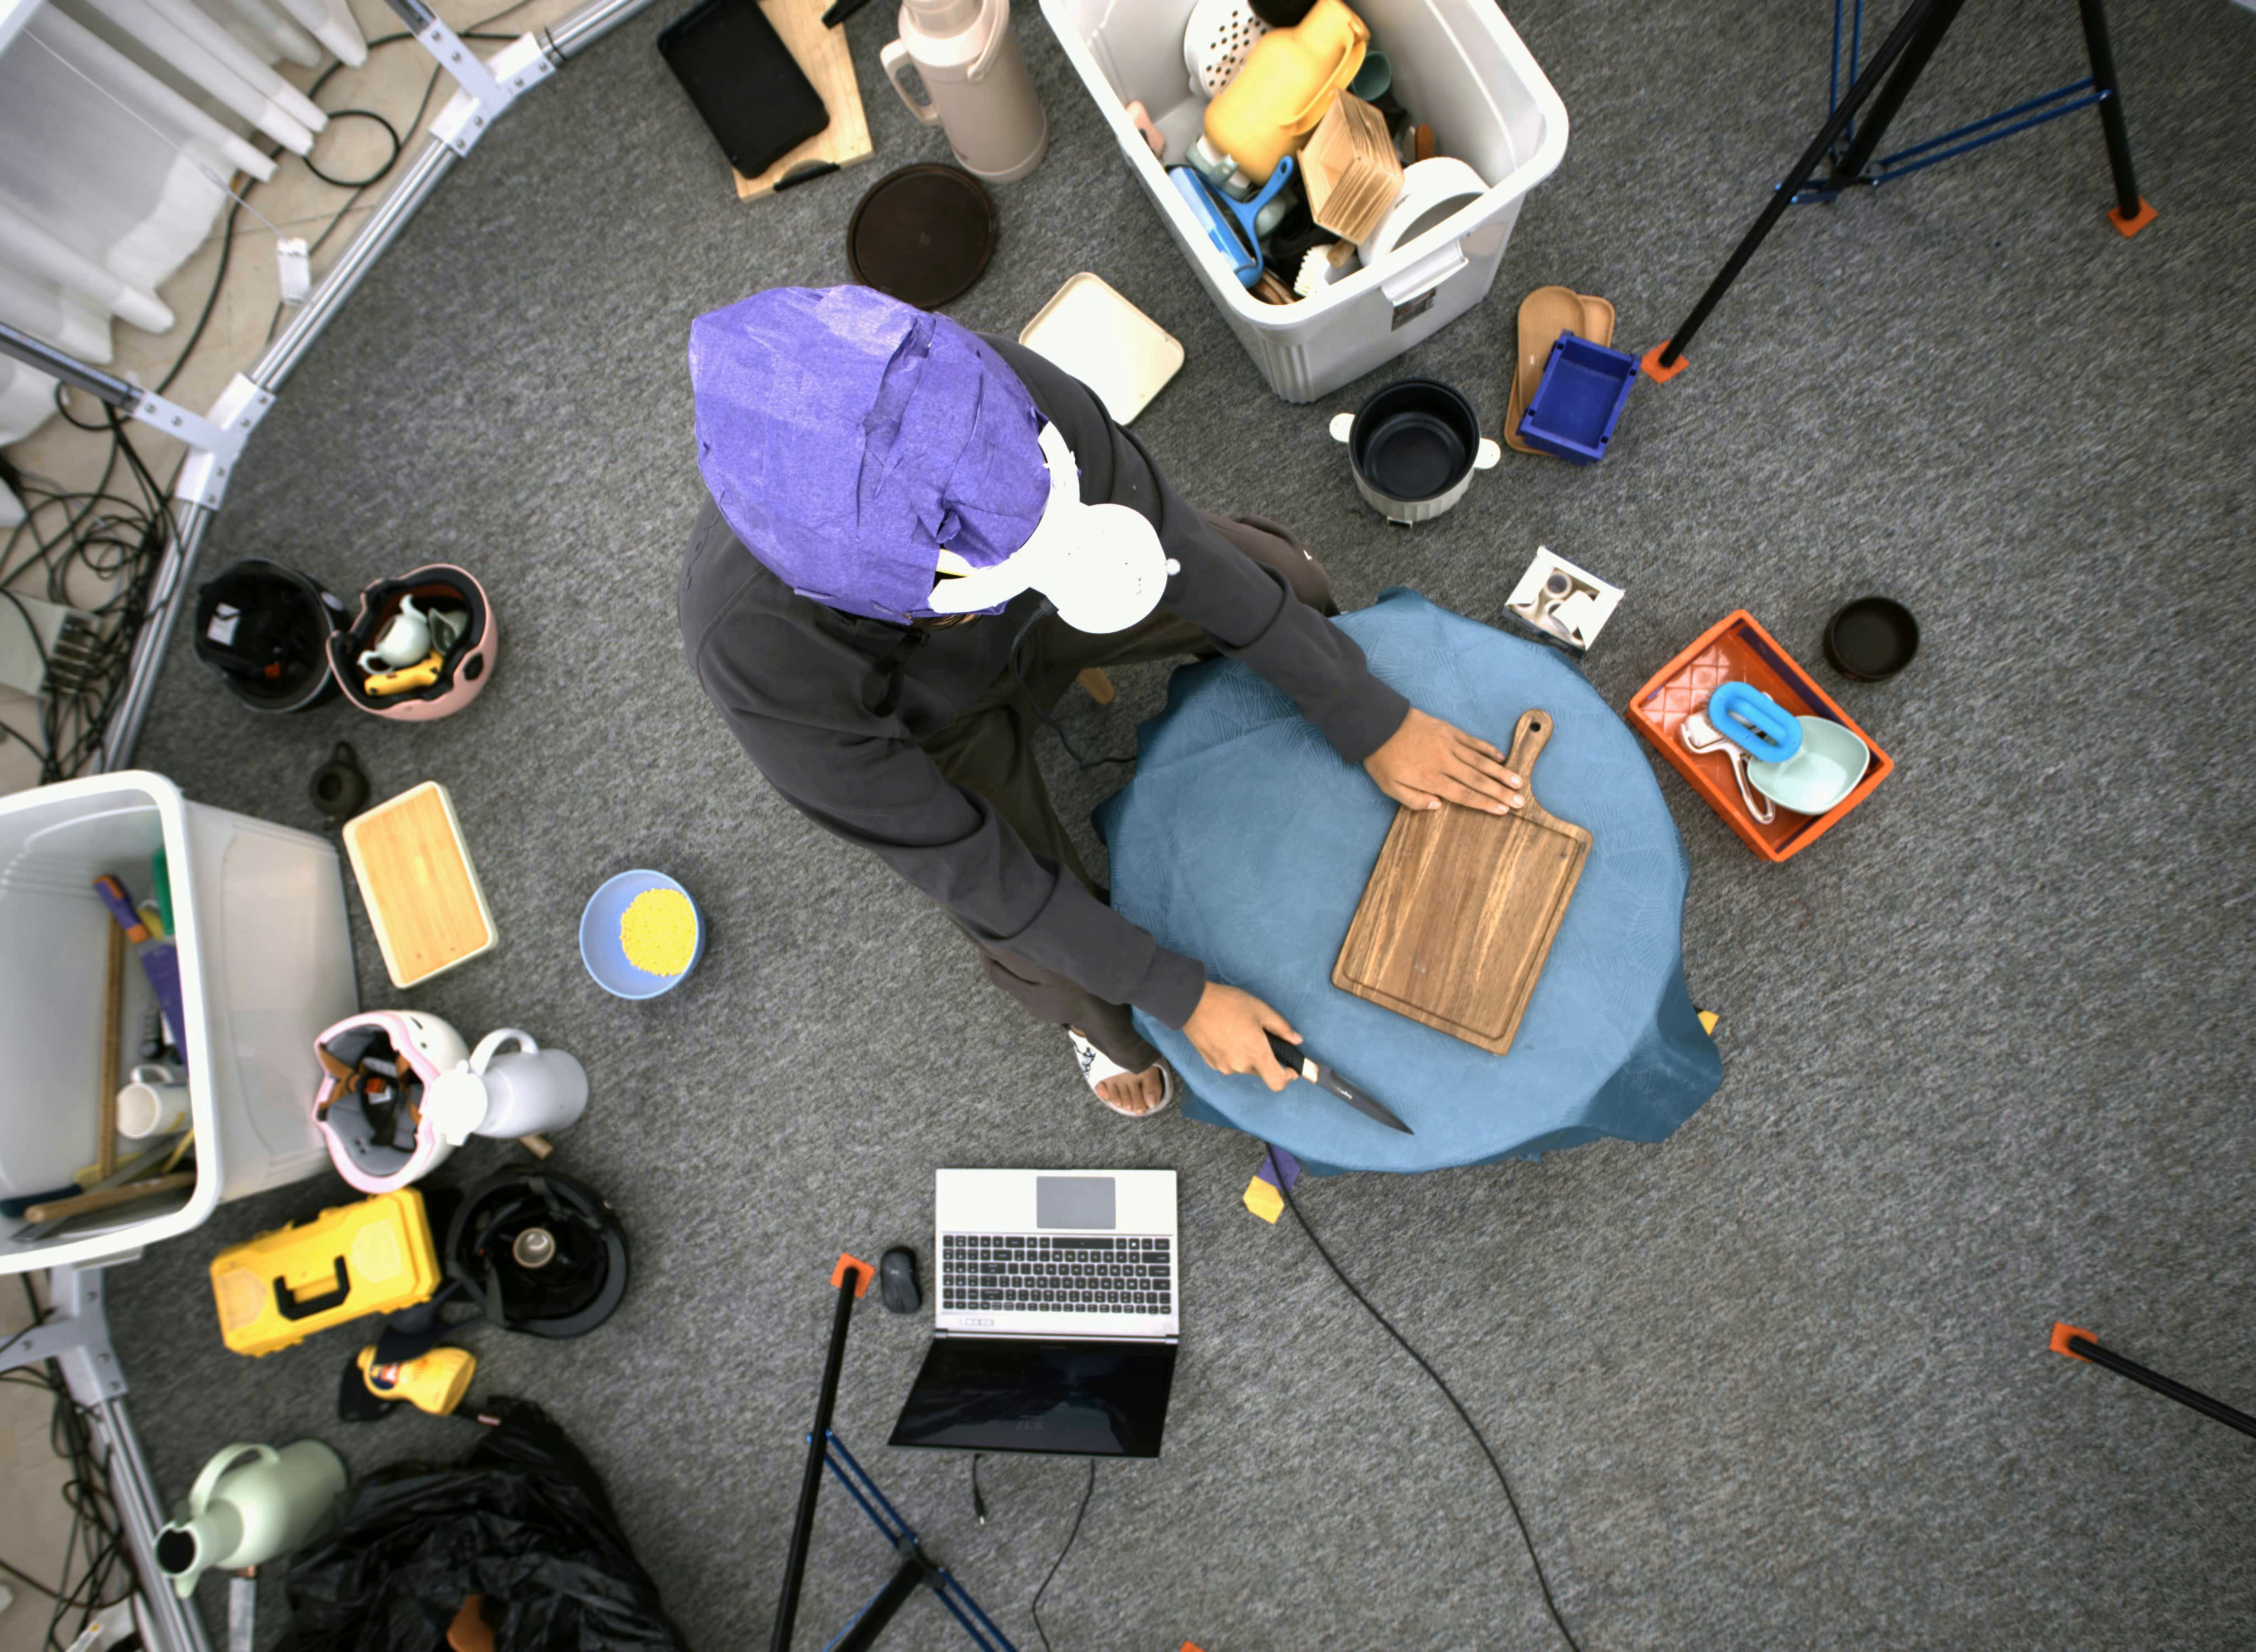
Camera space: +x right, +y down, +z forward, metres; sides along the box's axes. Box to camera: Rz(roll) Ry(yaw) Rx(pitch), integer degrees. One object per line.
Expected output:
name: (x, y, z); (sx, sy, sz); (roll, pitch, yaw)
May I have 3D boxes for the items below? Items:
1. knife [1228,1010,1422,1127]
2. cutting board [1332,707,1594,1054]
knife: (0.203, 0.253, 1.435); (0.225, 0.017, 0.026); (31, 71, 10)
cutting board: (0.366, 0.038, 1.434); (0.201, 0.023, 0.352); (22, 91, 11)
